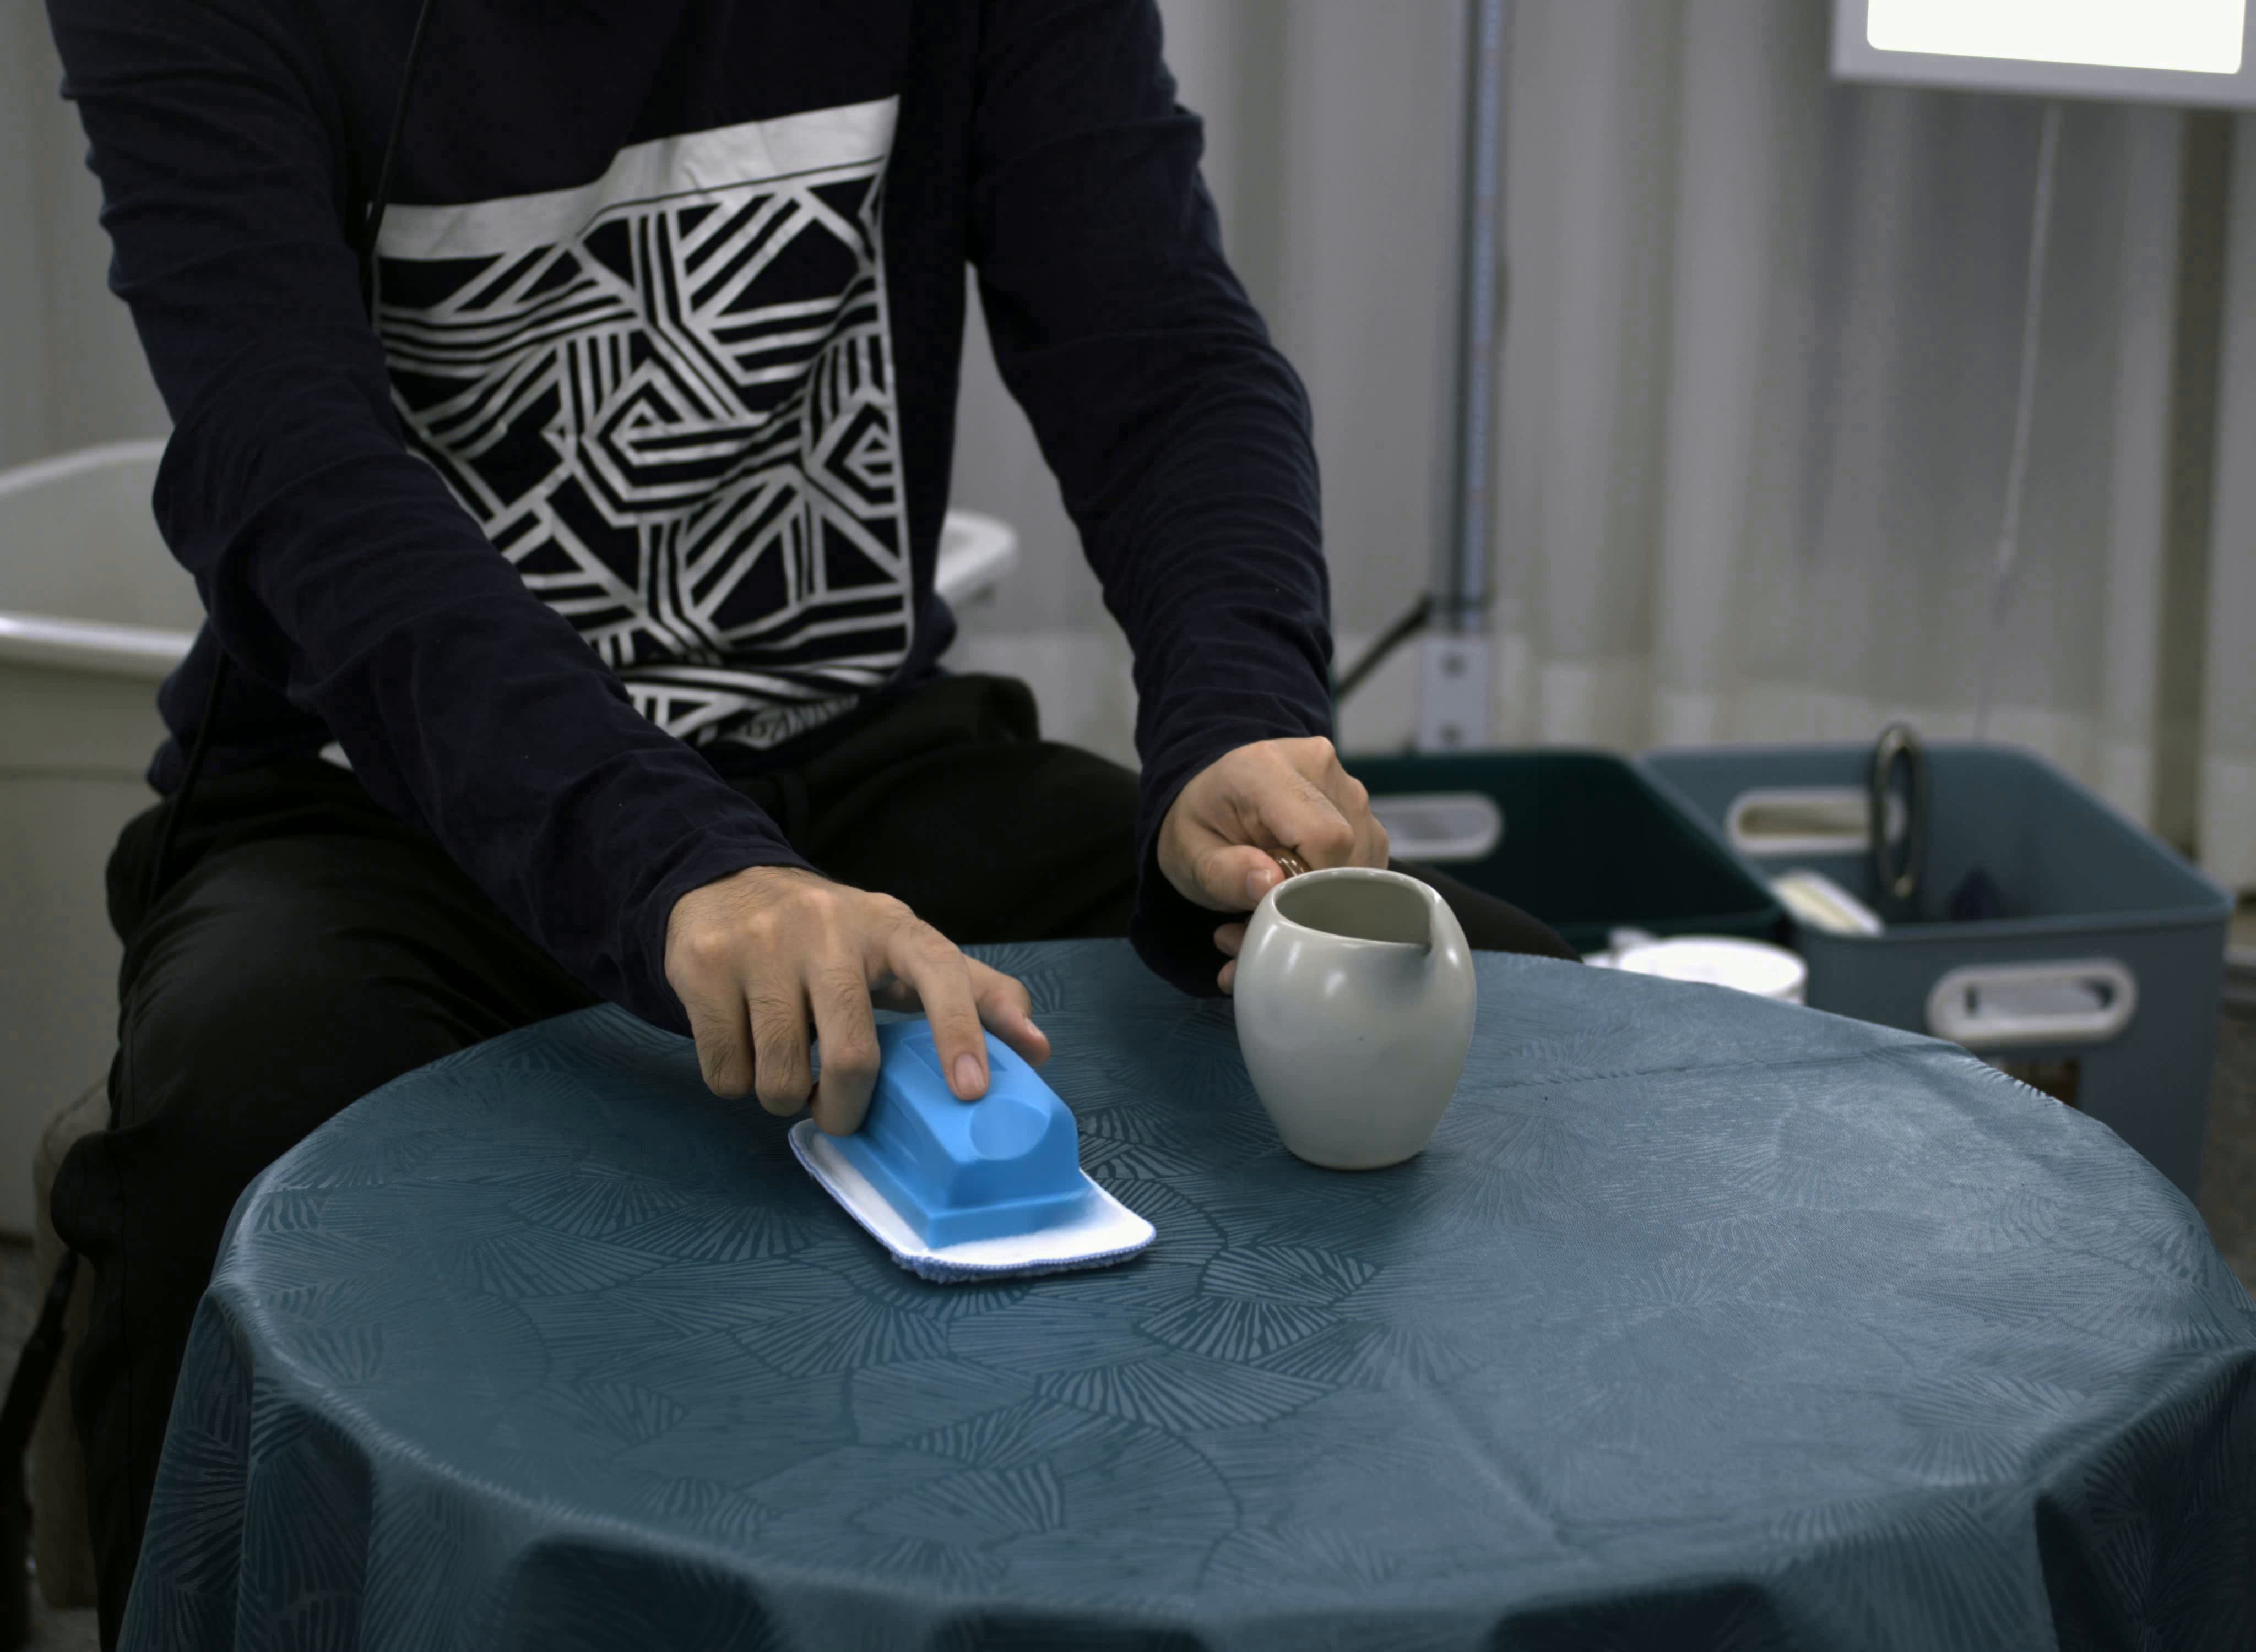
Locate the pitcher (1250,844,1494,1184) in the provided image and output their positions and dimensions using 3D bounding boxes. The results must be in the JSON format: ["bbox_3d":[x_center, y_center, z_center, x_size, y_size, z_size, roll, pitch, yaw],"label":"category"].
[{"bbox_3d":[0.073,0.059,1.646,0.076,0.089,0.117,-4,28,-18],"label":"pitcher"}]

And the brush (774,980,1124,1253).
[{"bbox_3d":[-0.054,0.086,1.605,0.084,0.056,0.142,-2,18,-19],"label":"brush"}]
